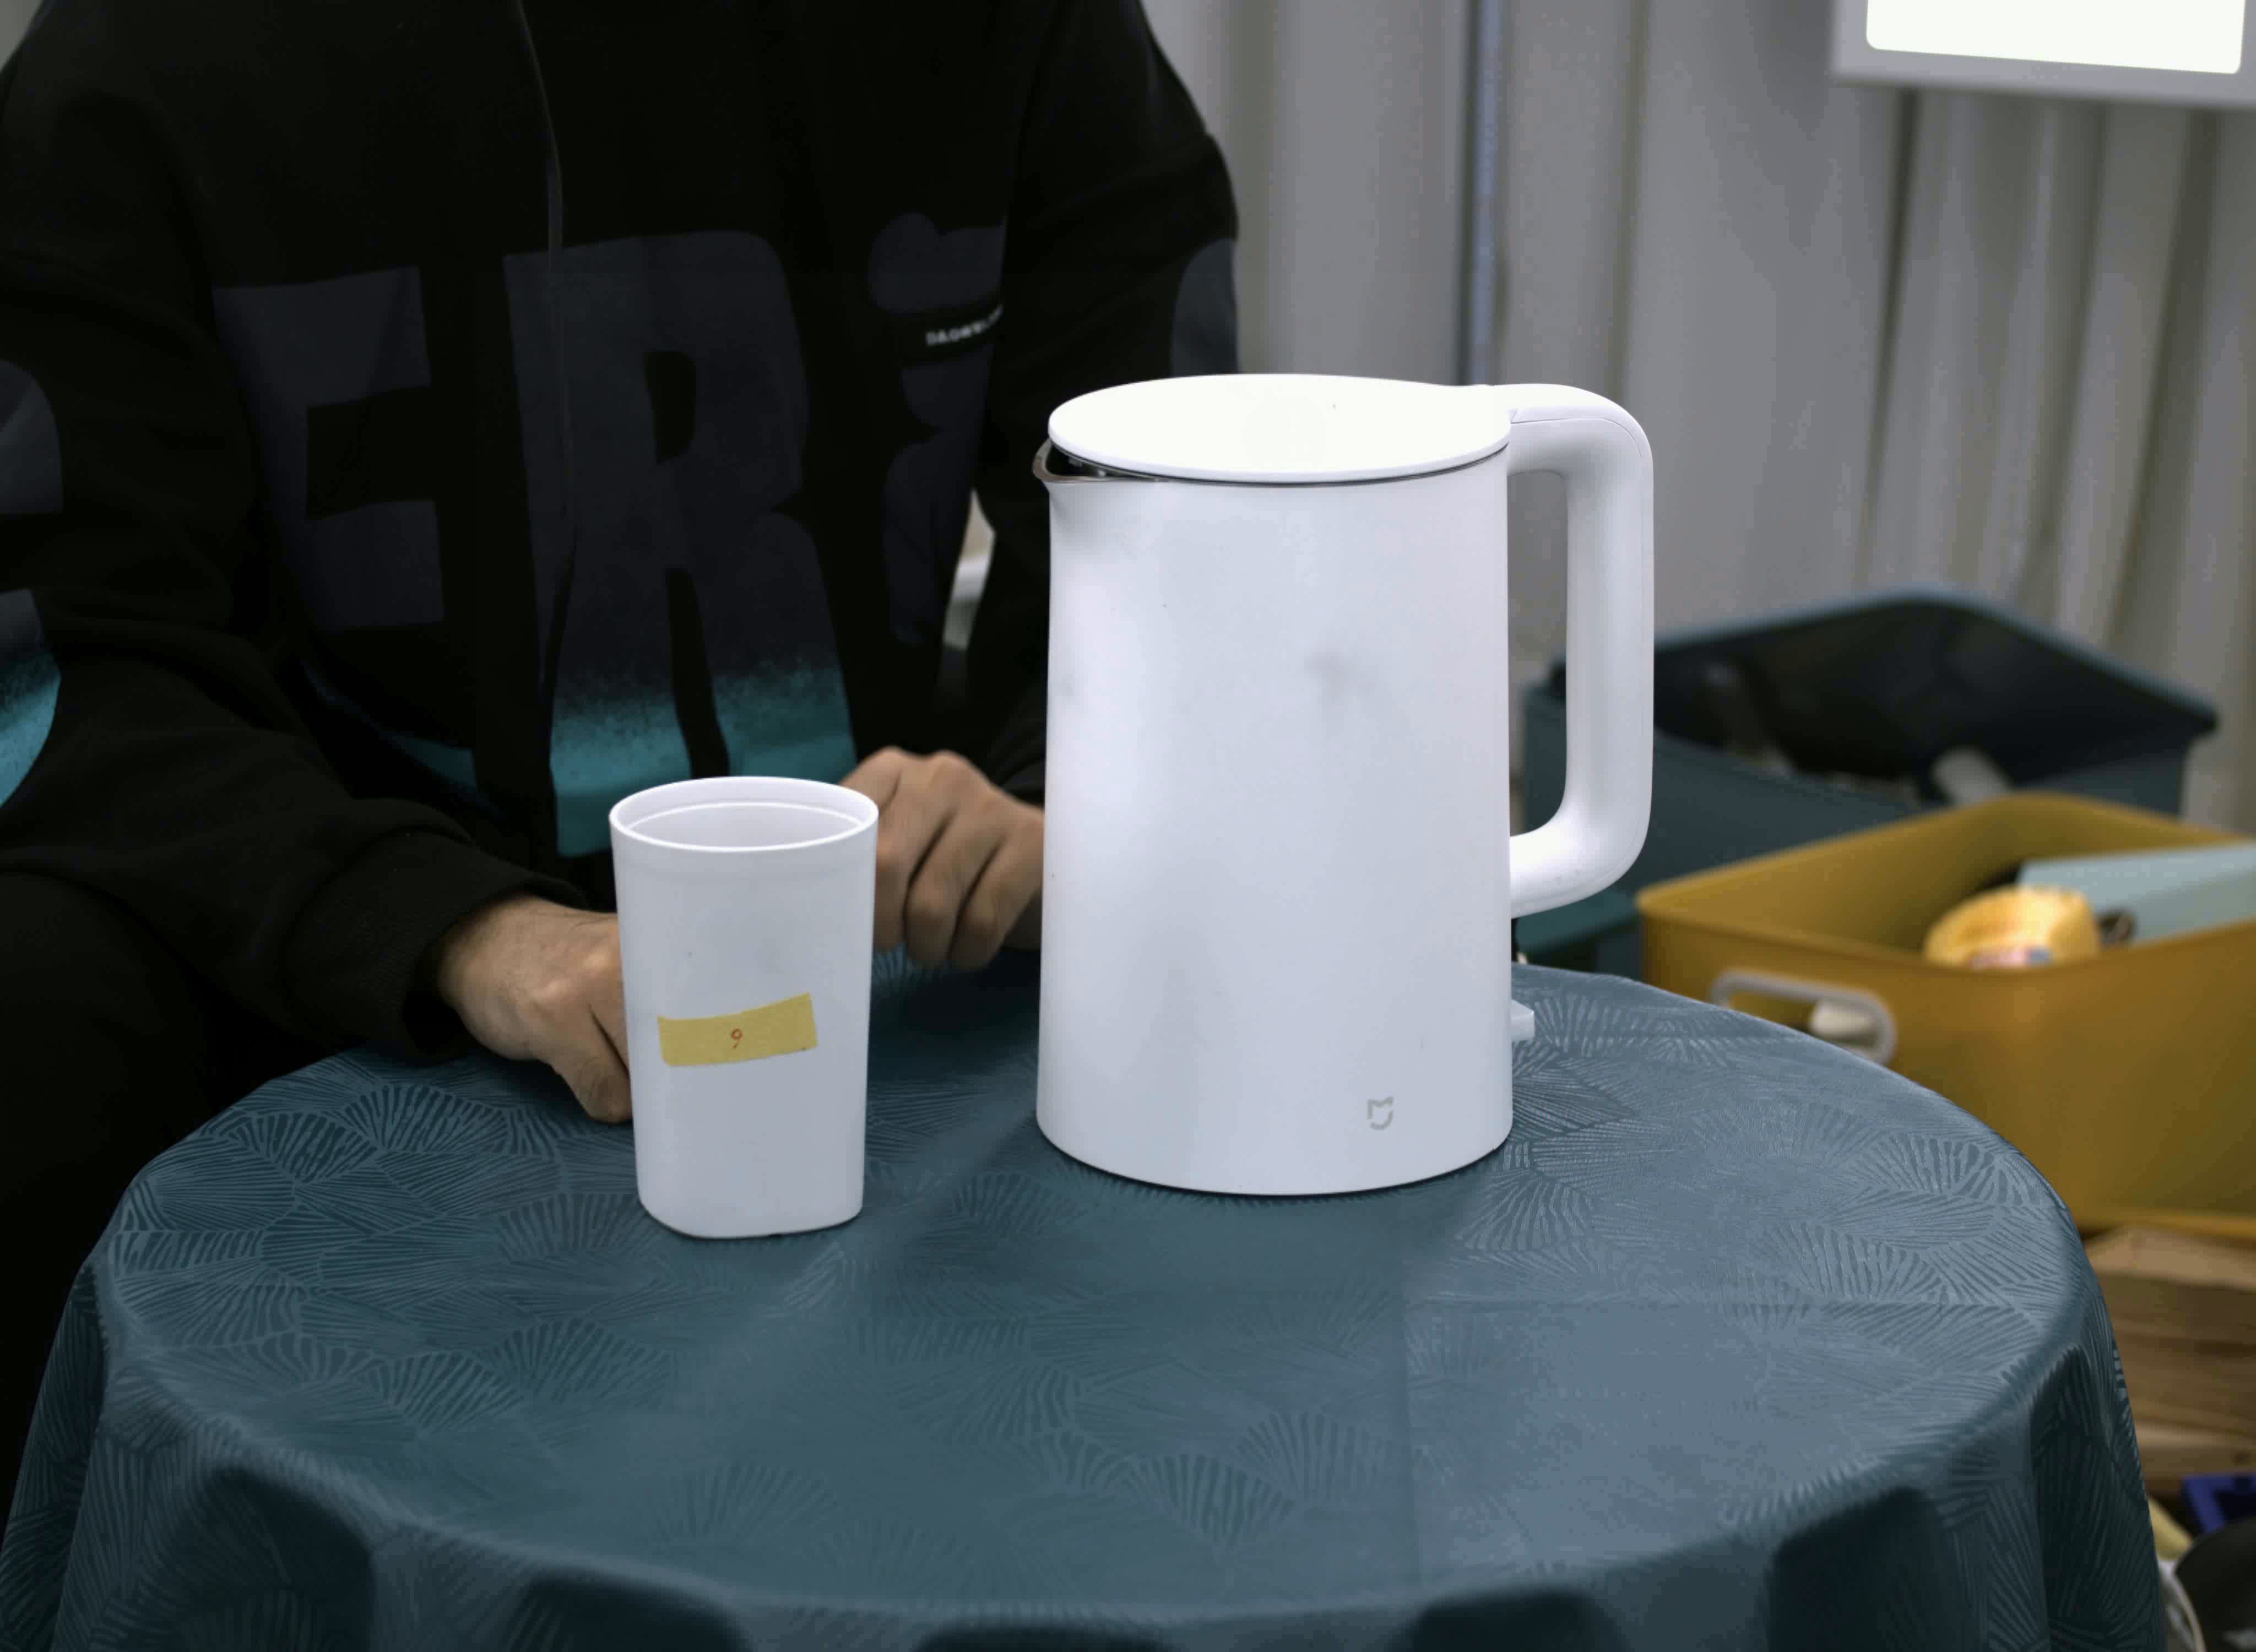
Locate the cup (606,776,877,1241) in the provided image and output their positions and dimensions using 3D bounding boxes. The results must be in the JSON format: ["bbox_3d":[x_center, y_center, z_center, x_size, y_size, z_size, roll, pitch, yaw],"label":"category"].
[{"bbox_3d":[-0.115,0.055,1.588,0.081,0.126,0.081,0,16,0],"label":"cup"}]

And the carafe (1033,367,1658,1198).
[{"bbox_3d":[0.071,-0.019,1.661,0.214,0.242,0.150,-8,19,-25],"label":"carafe"}]
